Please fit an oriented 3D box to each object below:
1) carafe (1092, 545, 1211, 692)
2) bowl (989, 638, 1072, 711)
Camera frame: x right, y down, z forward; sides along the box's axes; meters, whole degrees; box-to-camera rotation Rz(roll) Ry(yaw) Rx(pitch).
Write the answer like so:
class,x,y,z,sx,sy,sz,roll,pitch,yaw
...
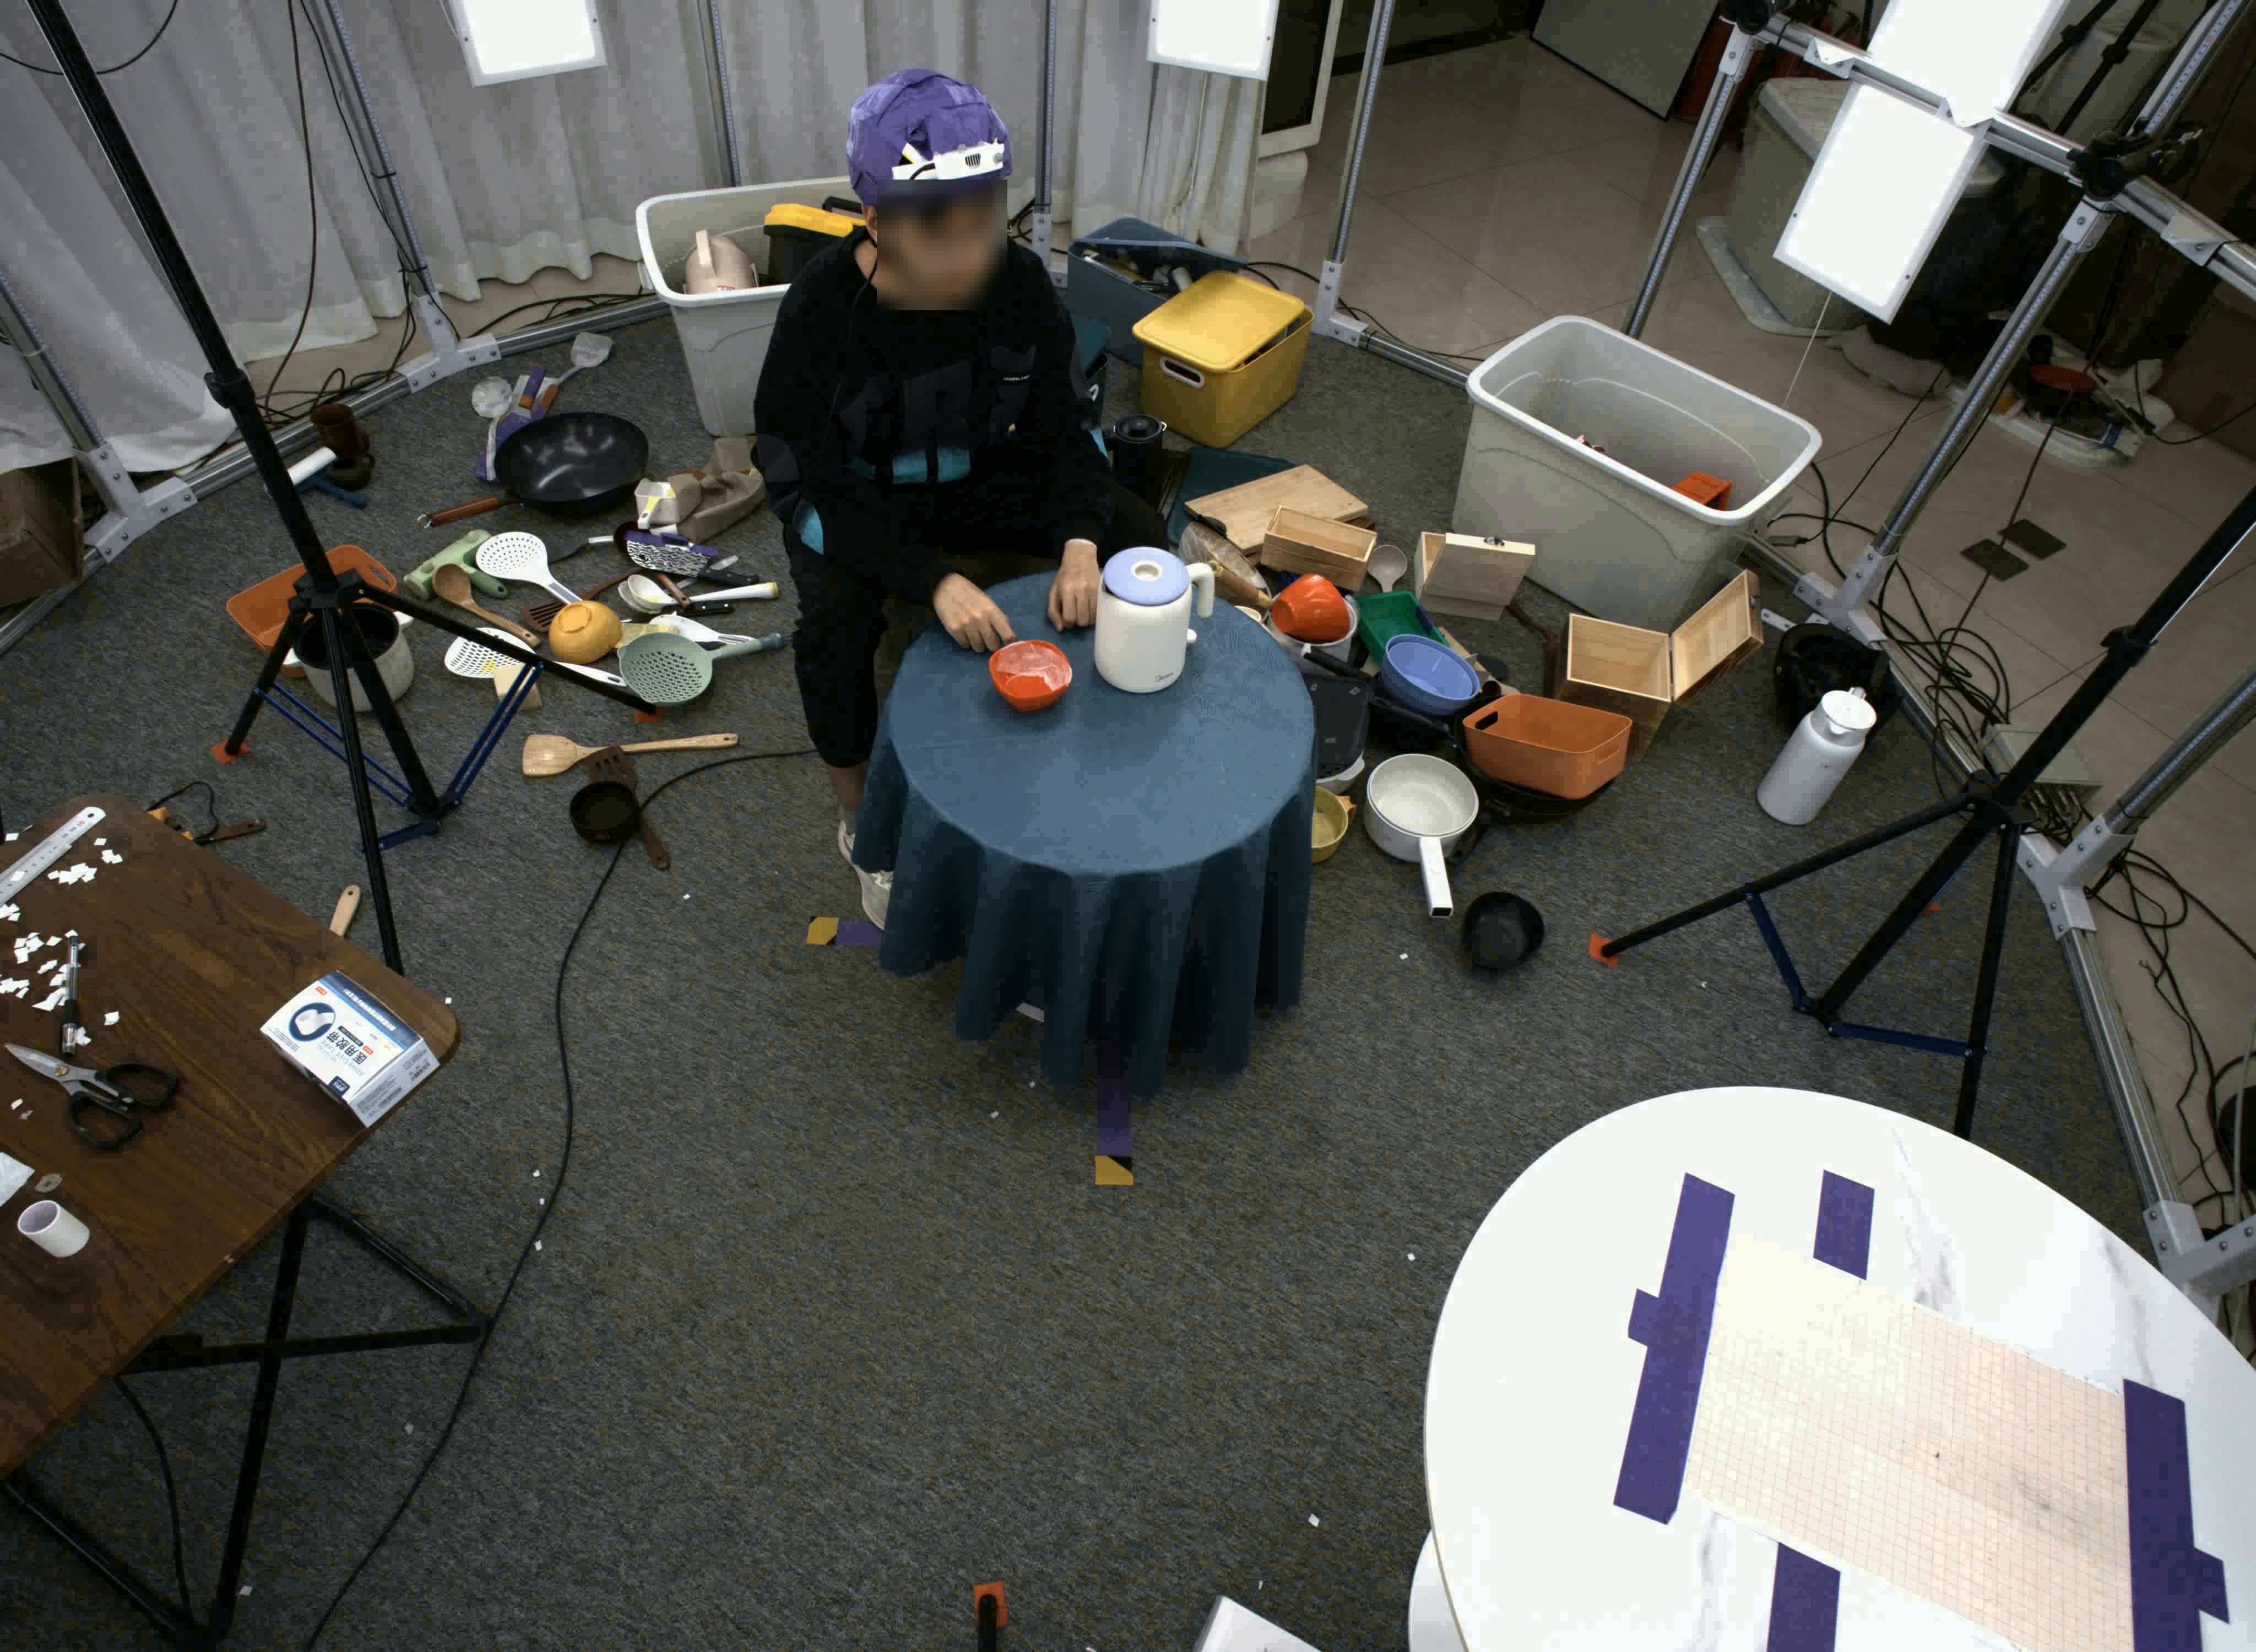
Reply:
class,x,y,z,sx,sy,sz,roll,pitch,yaw
carafe,0.039,-0.301,1.822,0.192,0.178,0.135,-24,56,-25
bowl,-0.136,-0.206,1.803,0.119,0.050,0.122,1,52,-2
